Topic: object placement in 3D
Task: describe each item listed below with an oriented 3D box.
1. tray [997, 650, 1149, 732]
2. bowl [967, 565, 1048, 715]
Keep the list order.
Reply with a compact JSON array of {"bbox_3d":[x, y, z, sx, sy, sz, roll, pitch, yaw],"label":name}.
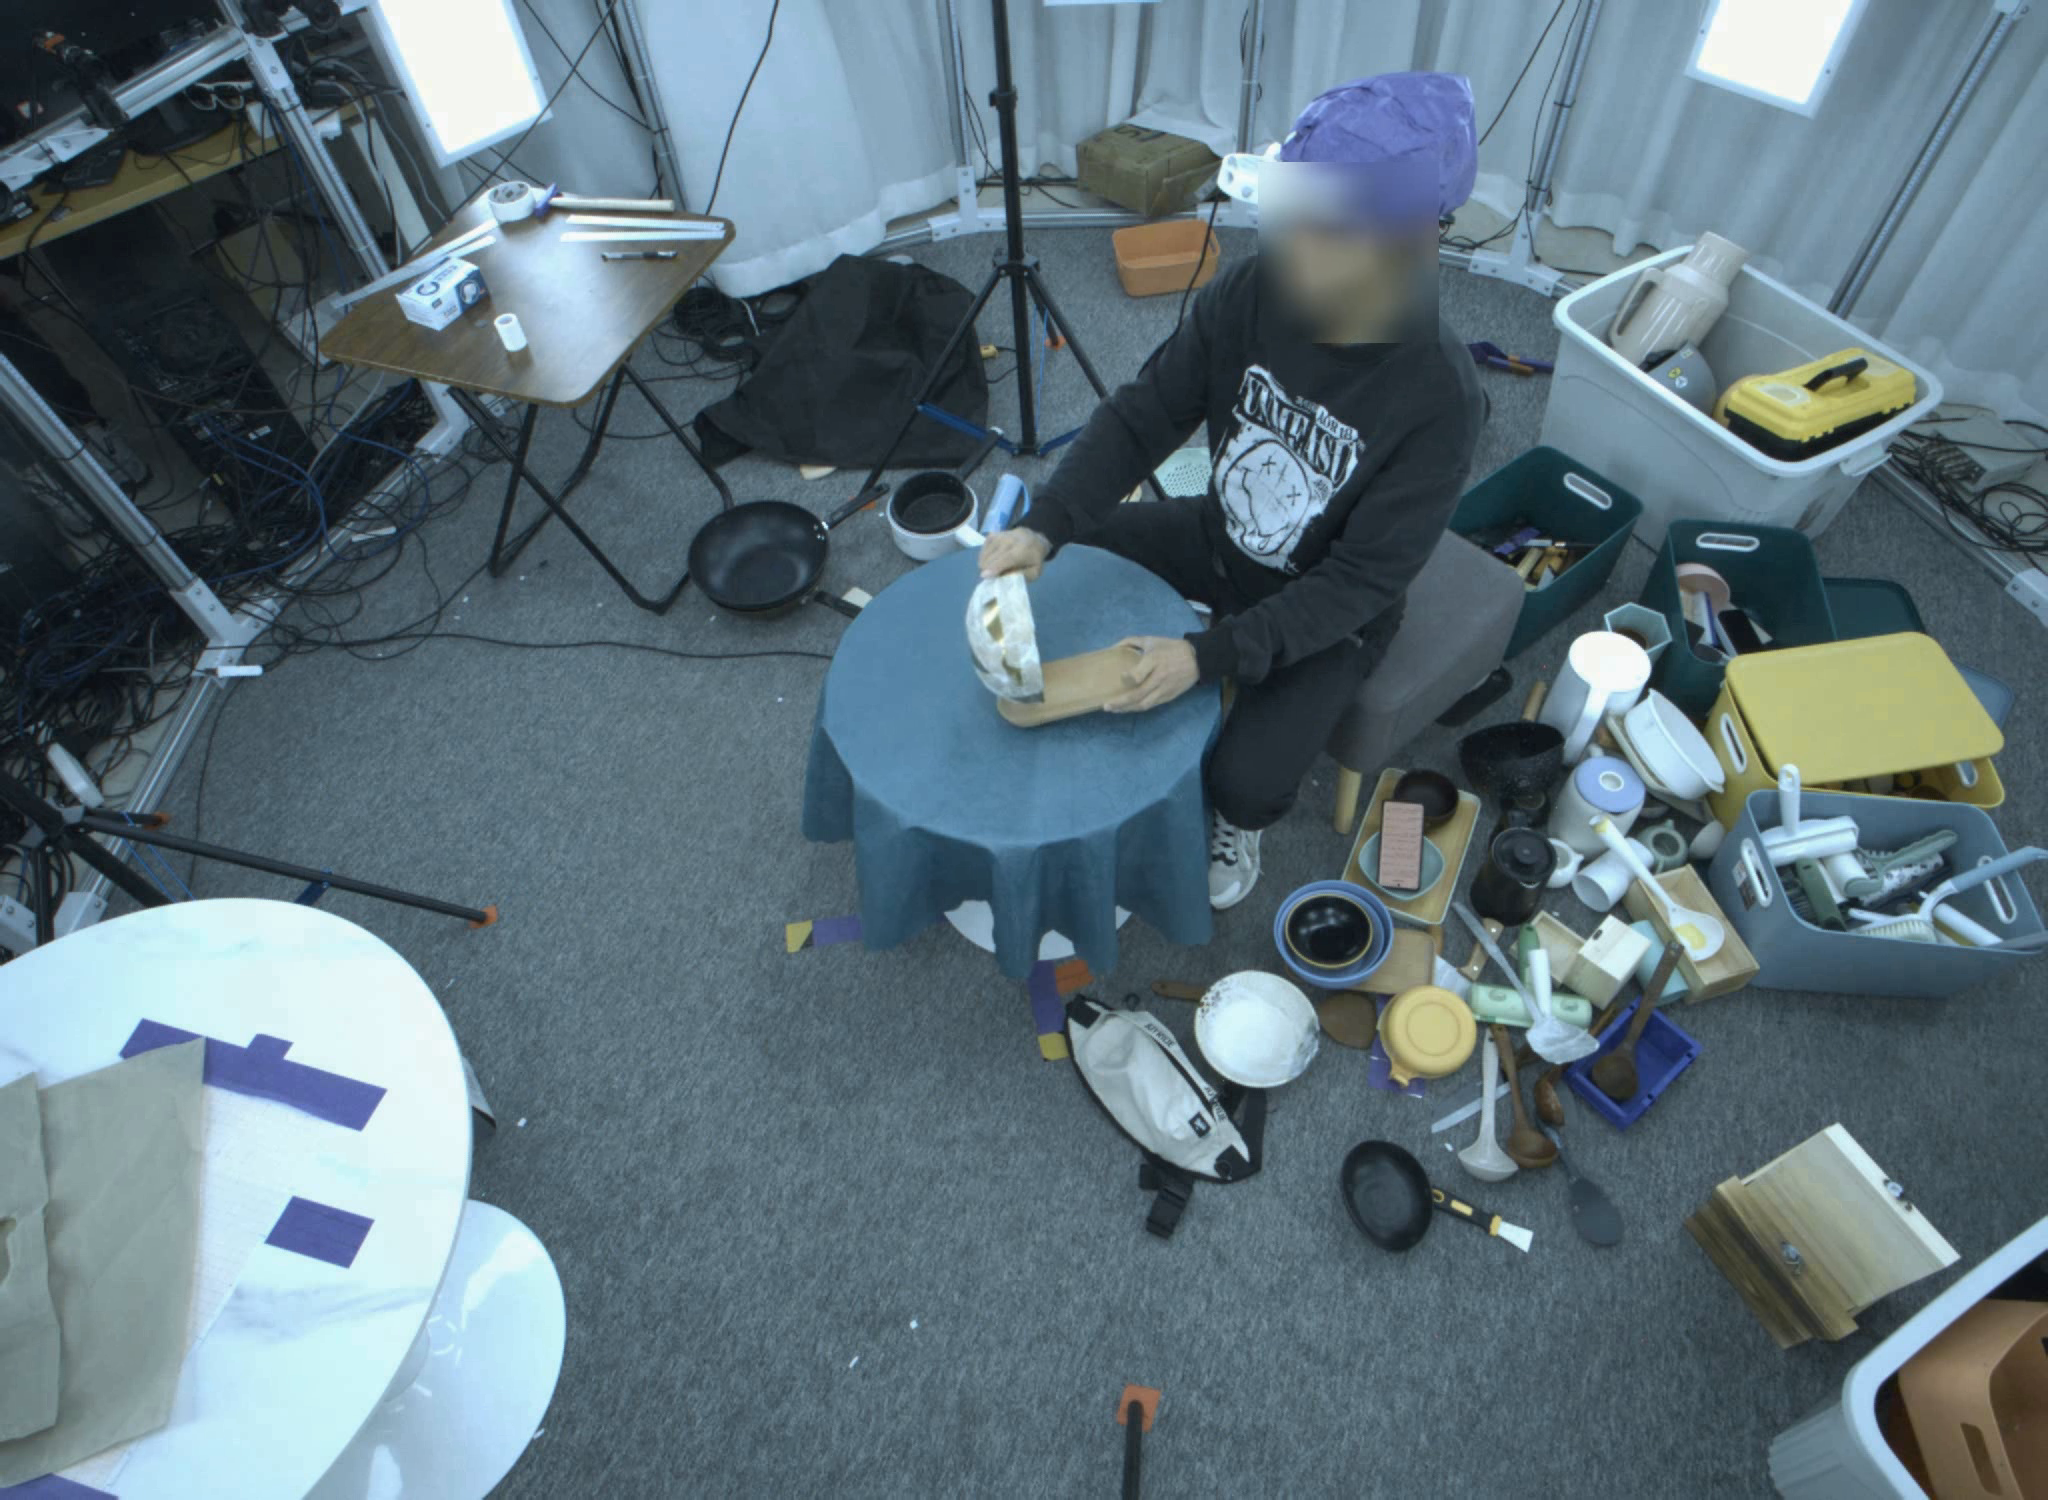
[{"bbox_3d":[0.072,-0.086,1.817,0.230,0.021,0.100,-15,53,10],"label":"tray"},{"bbox_3d":[-0.029,-0.147,1.727,0.094,0.217,0.211,-11,55,0],"label":"bowl"}]
